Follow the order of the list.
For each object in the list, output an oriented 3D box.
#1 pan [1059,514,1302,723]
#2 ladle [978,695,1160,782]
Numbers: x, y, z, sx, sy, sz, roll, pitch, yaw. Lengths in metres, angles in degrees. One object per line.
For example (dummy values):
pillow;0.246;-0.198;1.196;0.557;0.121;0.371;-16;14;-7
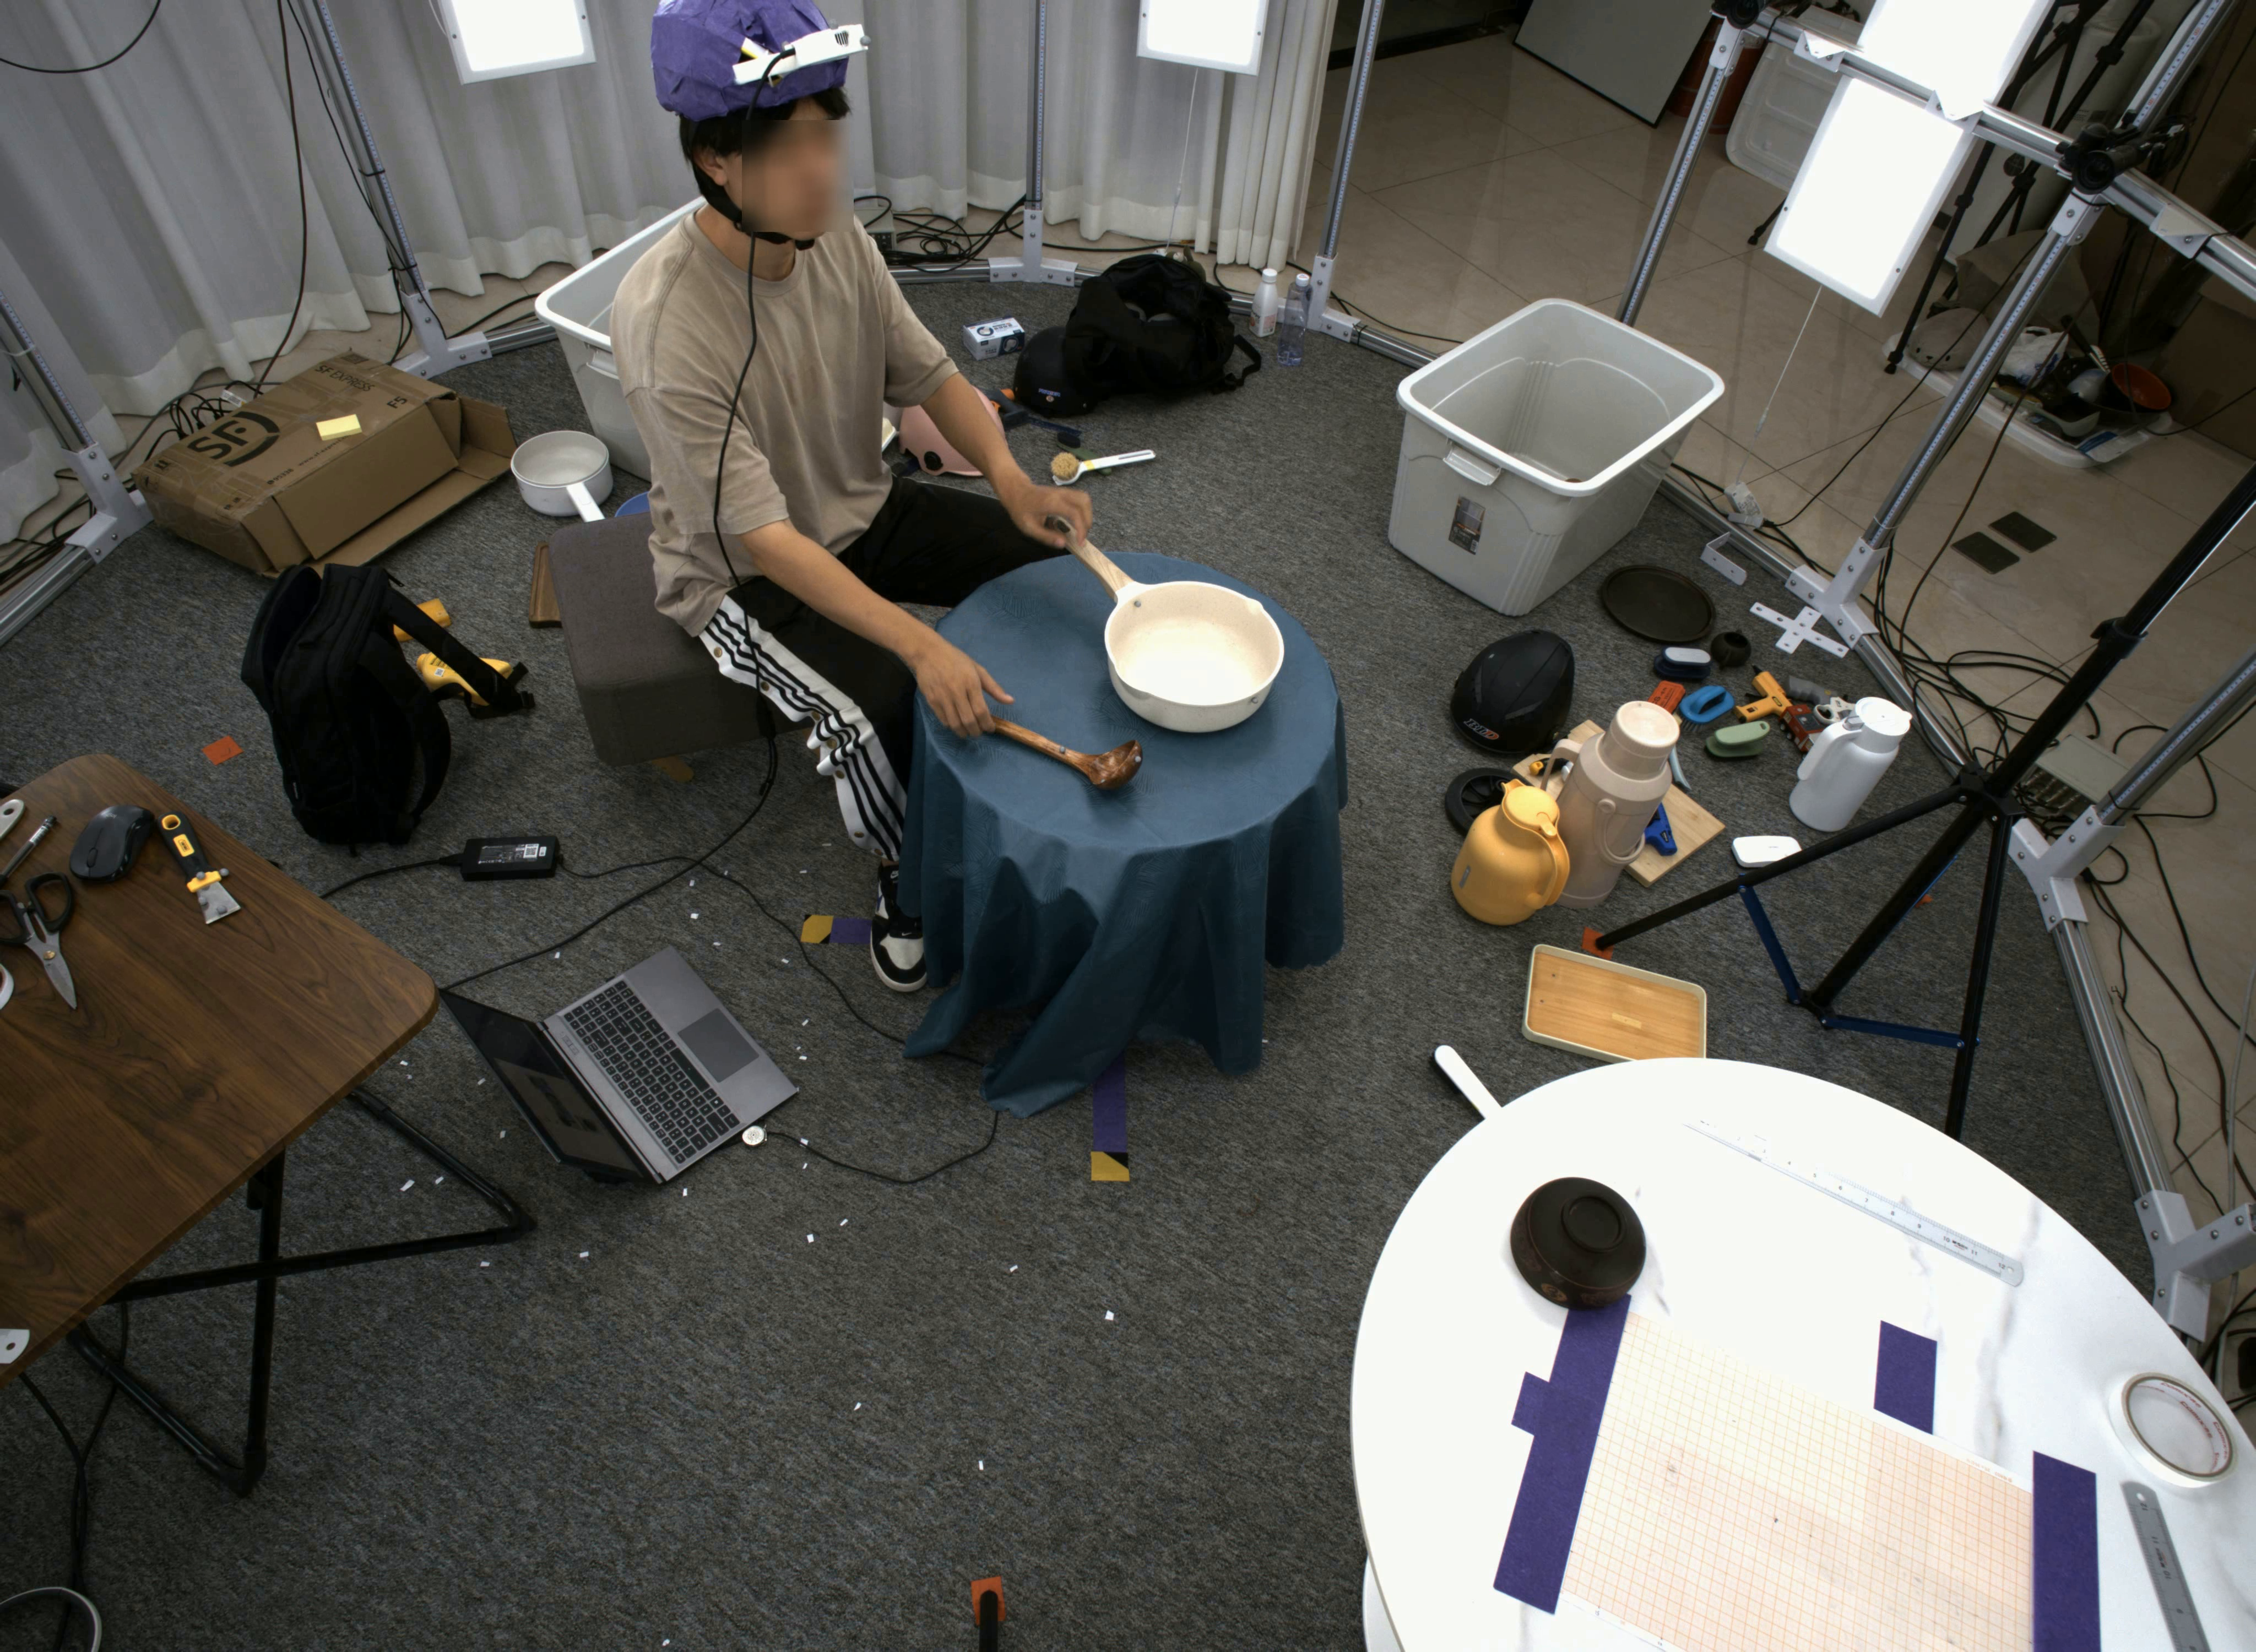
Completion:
pan;0.053;-0.306;1.861;0.265;0.099;0.442;-34;59;-28
ladle;-0.084;-0.133;1.708;0.276;0.075;0.083;26;52;16
